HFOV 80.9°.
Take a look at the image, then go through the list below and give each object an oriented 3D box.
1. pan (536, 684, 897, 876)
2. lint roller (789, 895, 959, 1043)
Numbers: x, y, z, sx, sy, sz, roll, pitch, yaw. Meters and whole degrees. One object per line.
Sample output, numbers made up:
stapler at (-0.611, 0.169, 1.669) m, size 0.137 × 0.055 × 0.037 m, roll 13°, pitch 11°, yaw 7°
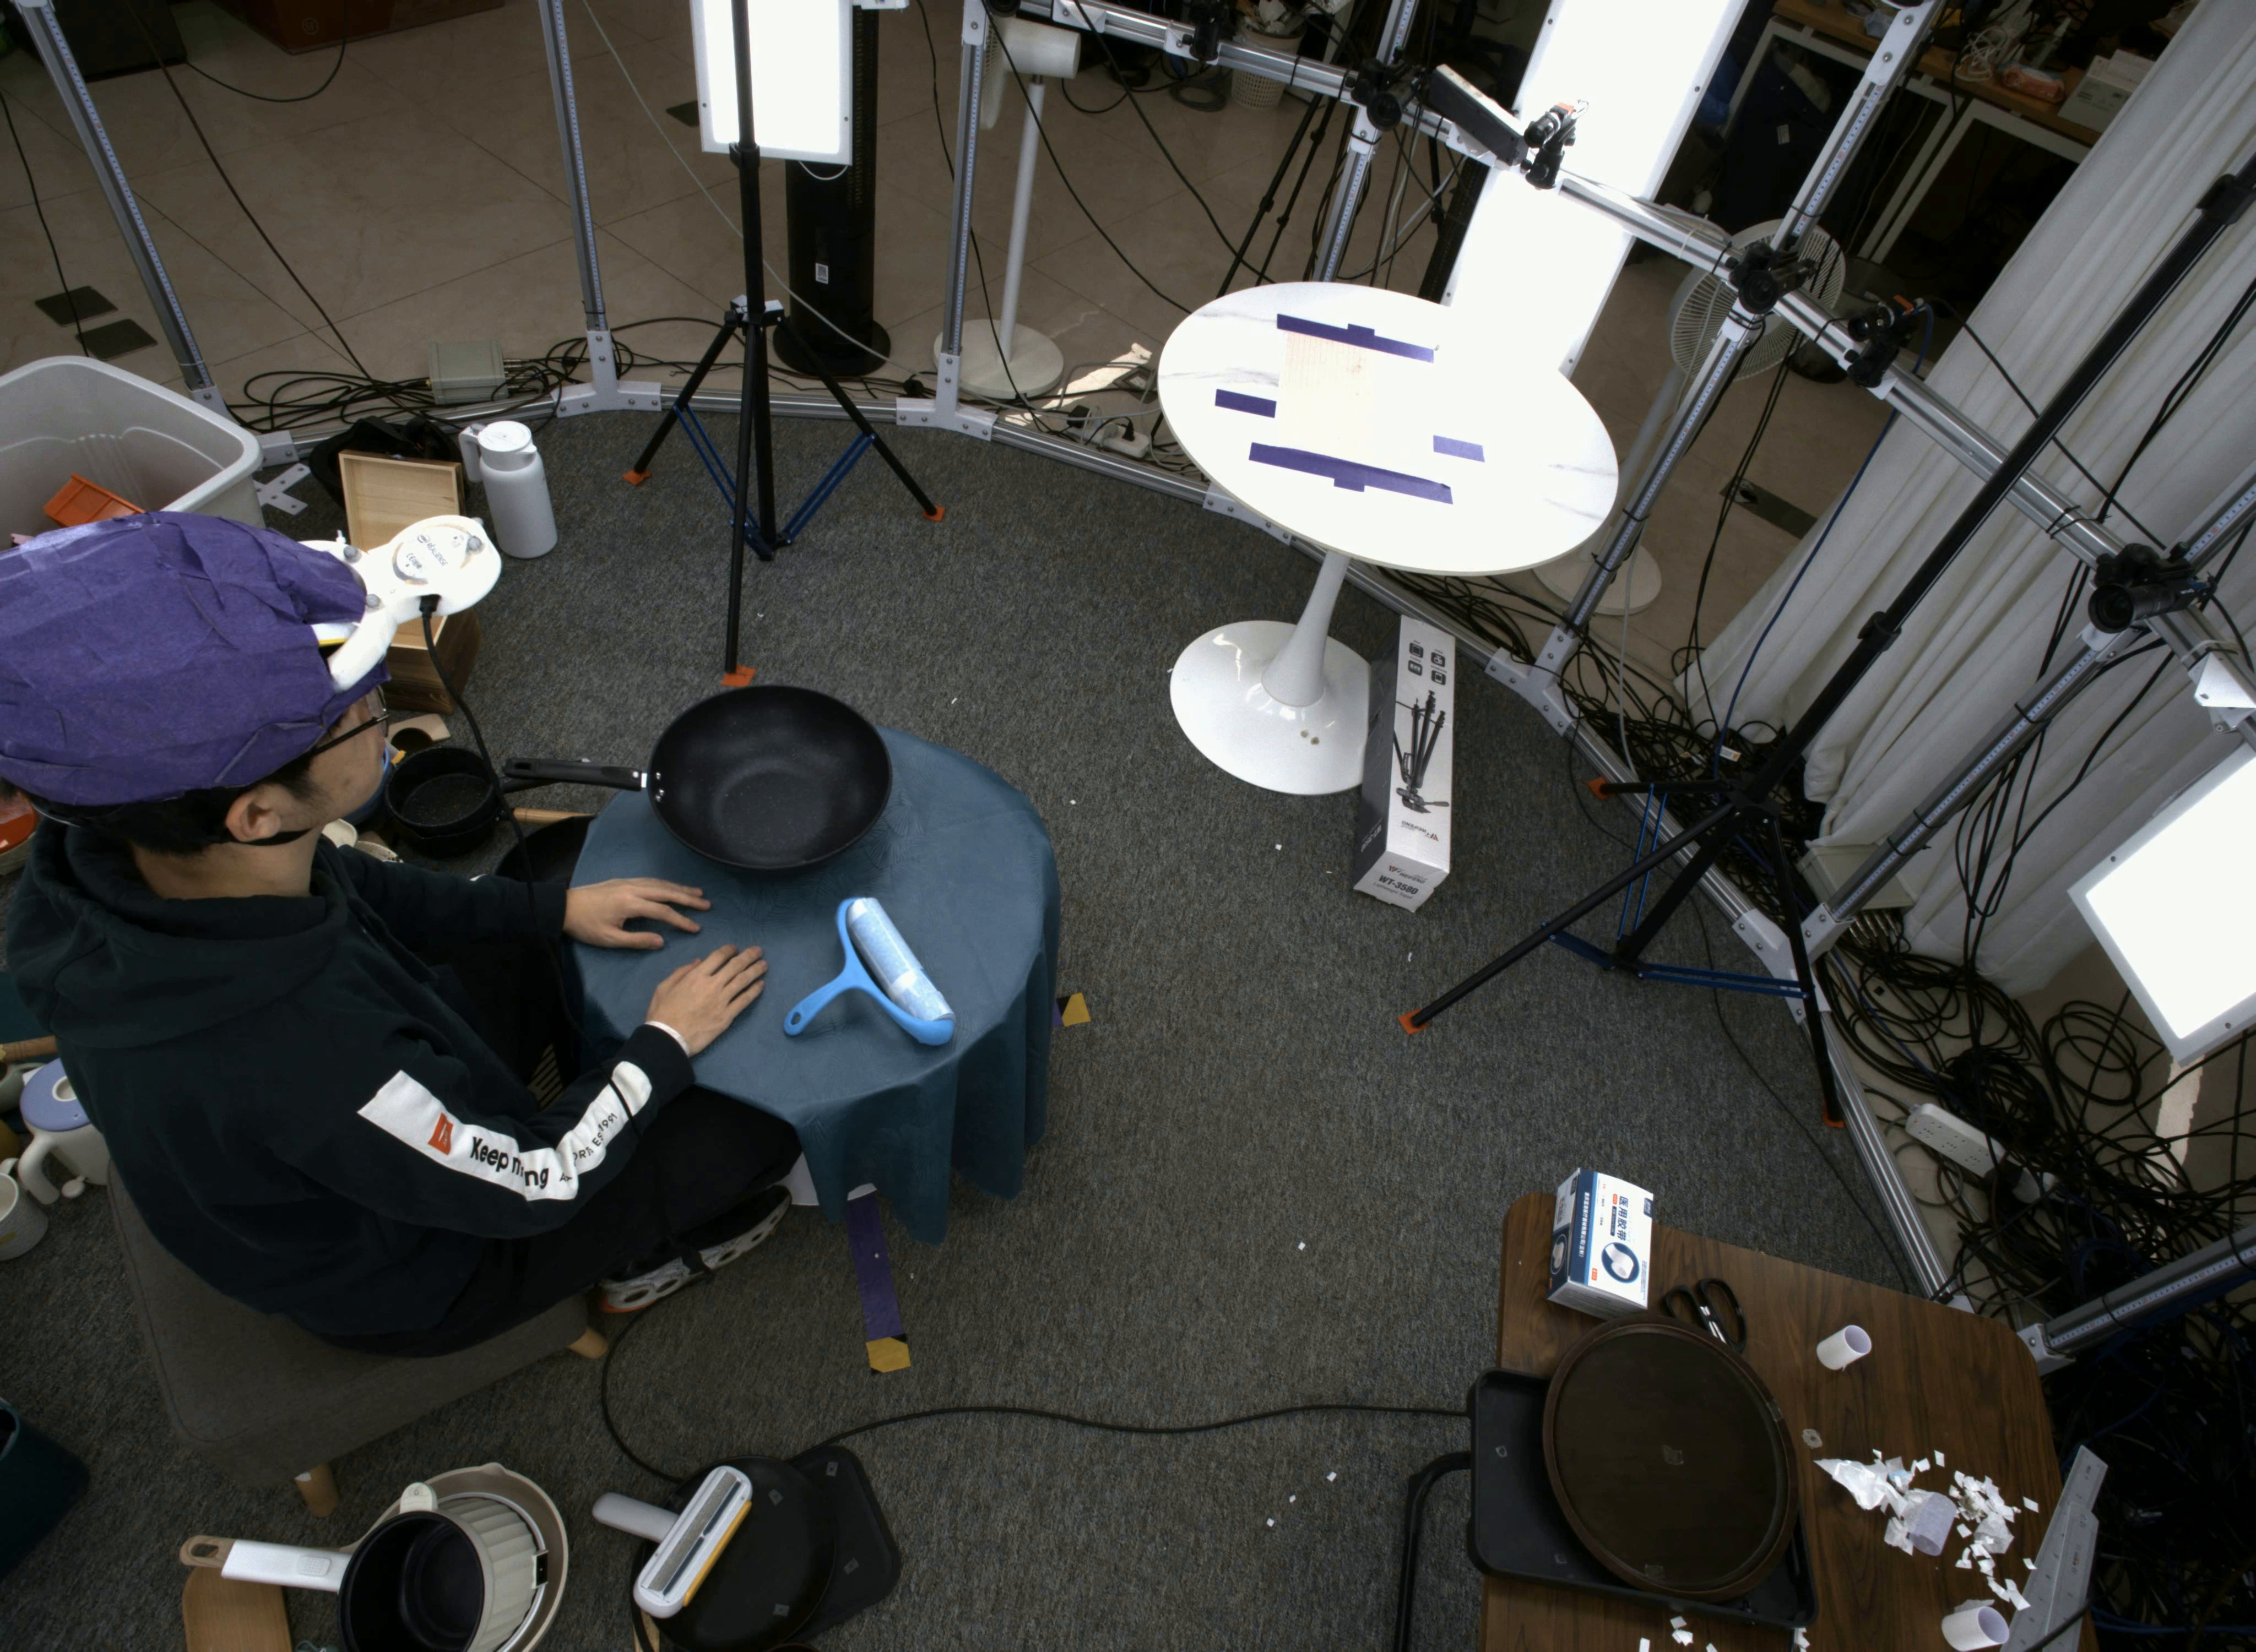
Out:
pan at (-0.538, -0.050, 1.668) m, size 0.478 × 0.114 × 0.303 m, roll -3°, pitch 53°, yaw -17°
lint roller at (-0.328, 0.195, 1.575) m, size 0.181 × 0.069 × 0.224 m, roll -29°, pitch 68°, yaw -32°
